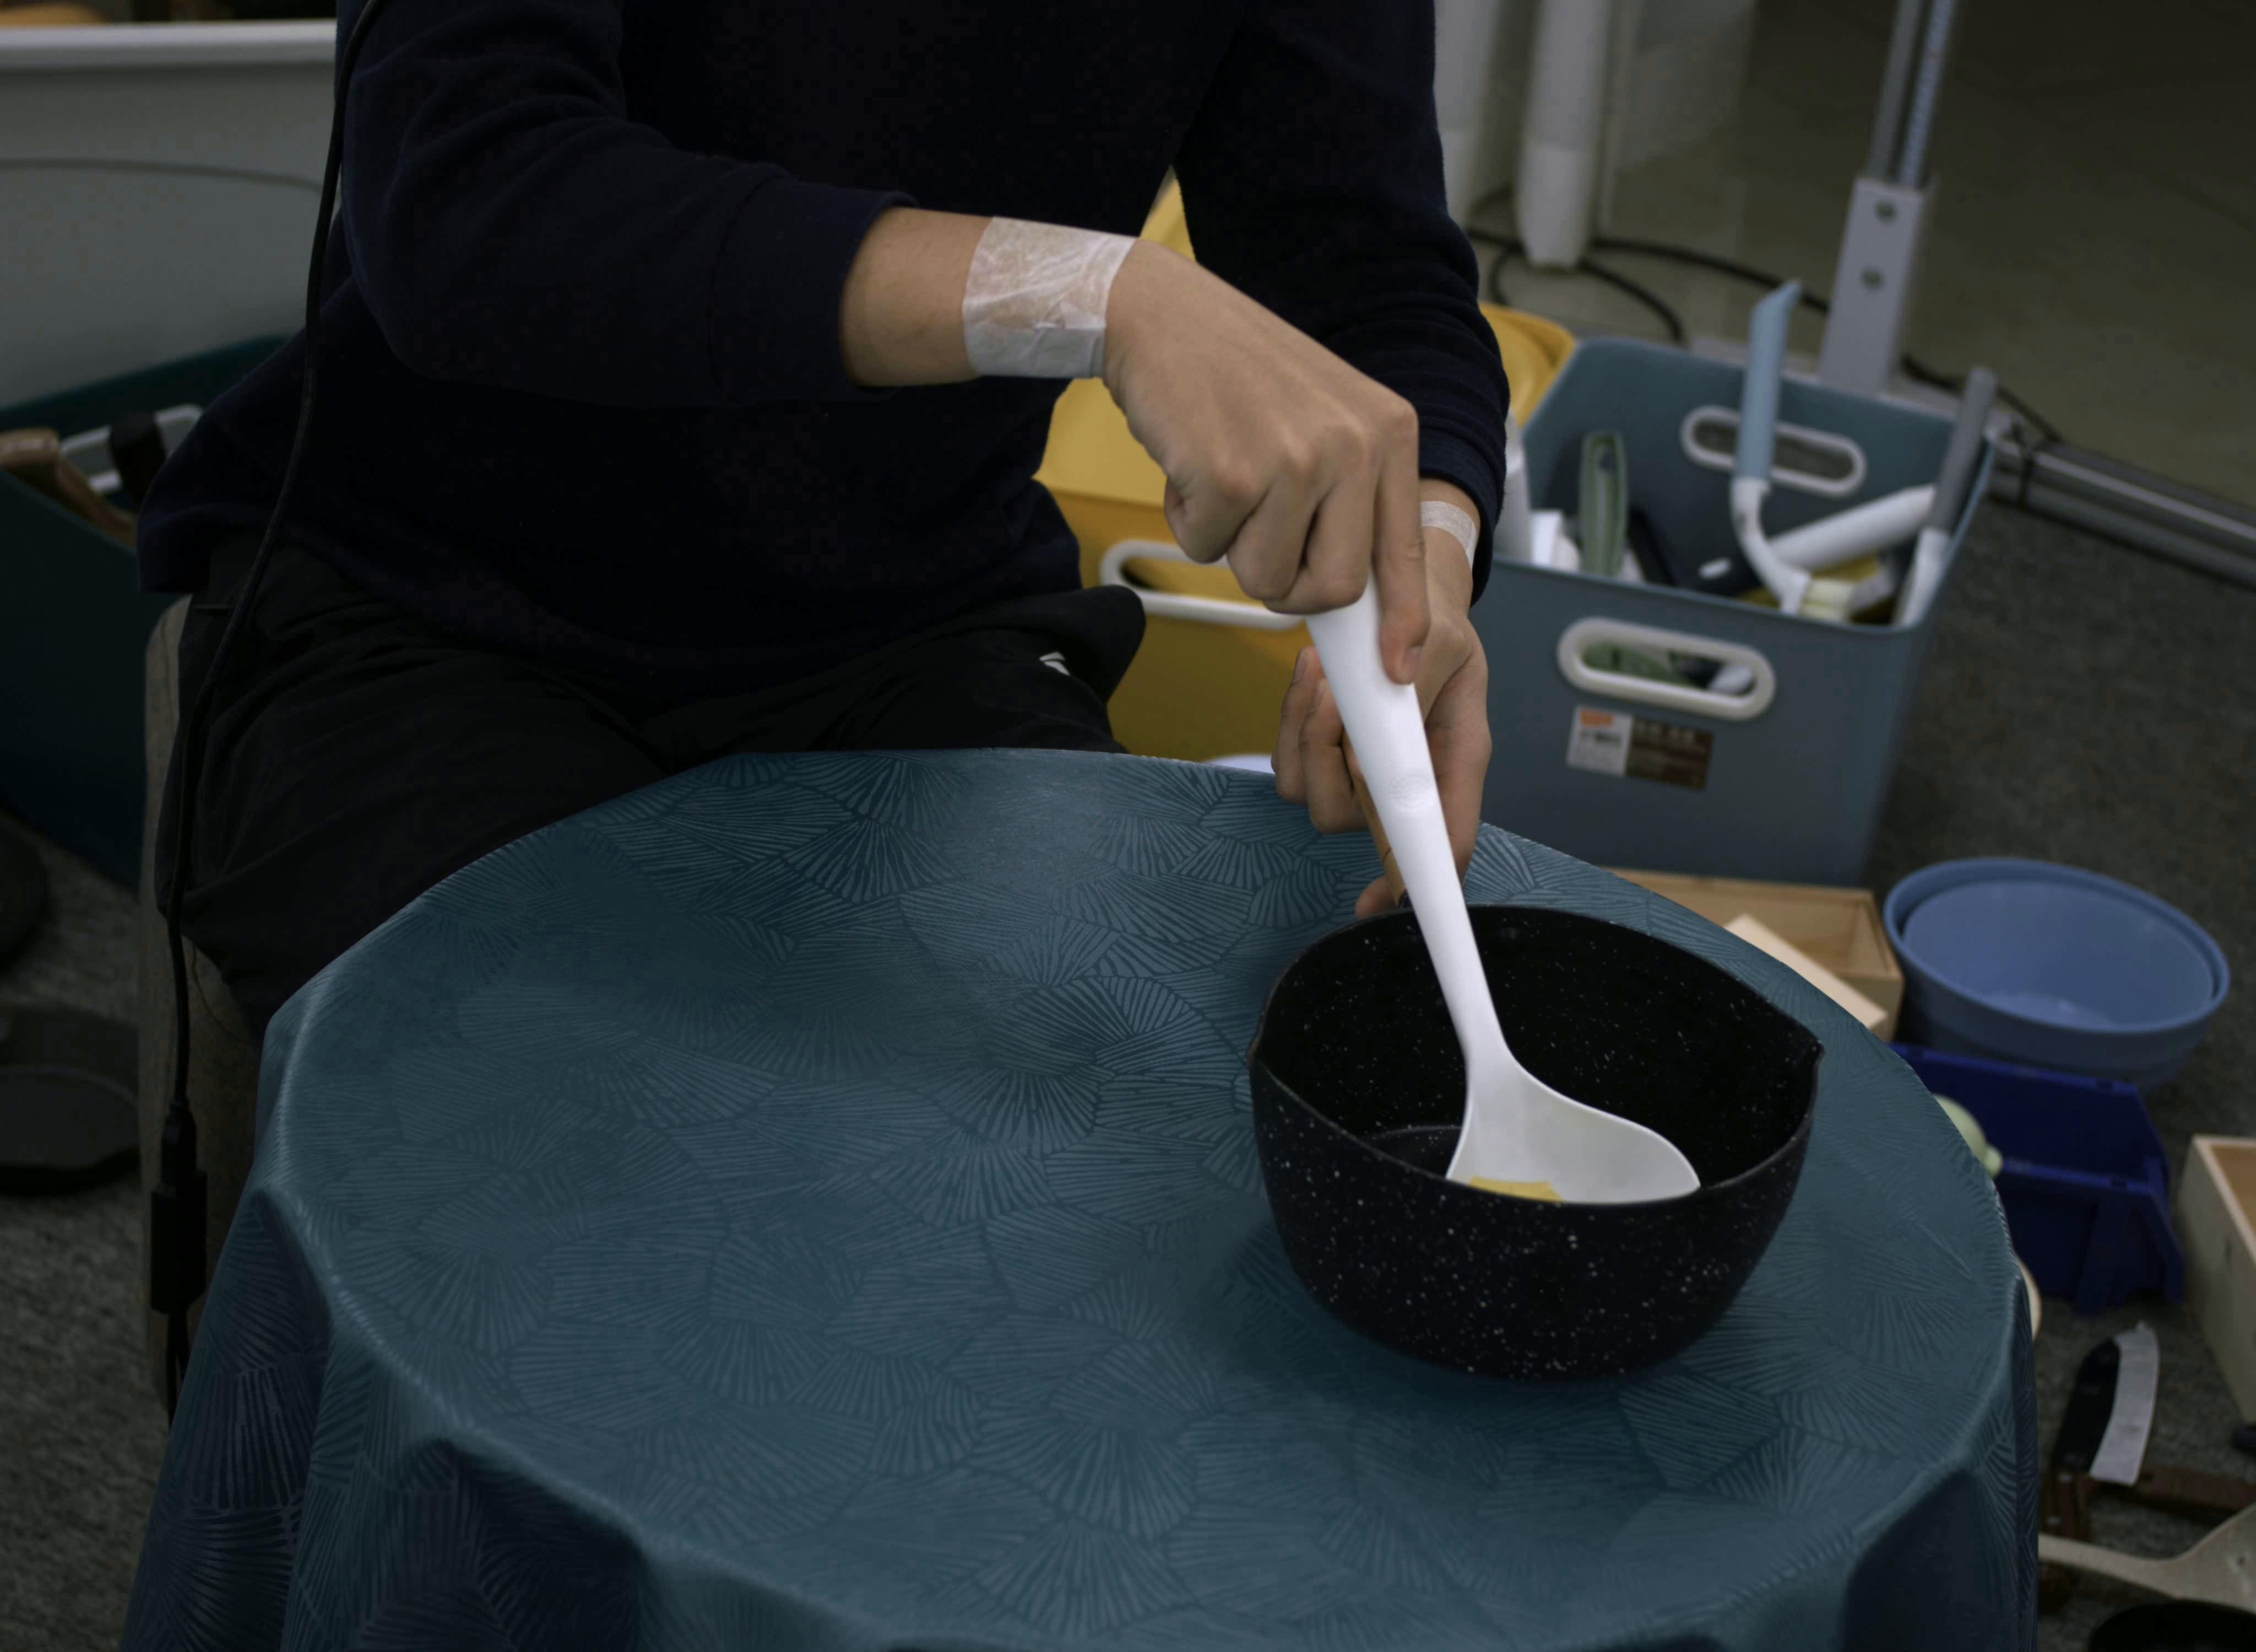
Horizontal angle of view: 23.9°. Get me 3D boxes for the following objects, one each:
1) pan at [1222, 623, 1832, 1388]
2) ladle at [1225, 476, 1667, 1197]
[{"bbox_3d":[0.111,0.058,1.824,0.206,0.108,0.346,-3,32,-15],"label":"pan"},{"bbox_3d":[0.097,0.022,1.766,0.090,0.294,0.070,-19,-4,-5],"label":"ladle"}]
